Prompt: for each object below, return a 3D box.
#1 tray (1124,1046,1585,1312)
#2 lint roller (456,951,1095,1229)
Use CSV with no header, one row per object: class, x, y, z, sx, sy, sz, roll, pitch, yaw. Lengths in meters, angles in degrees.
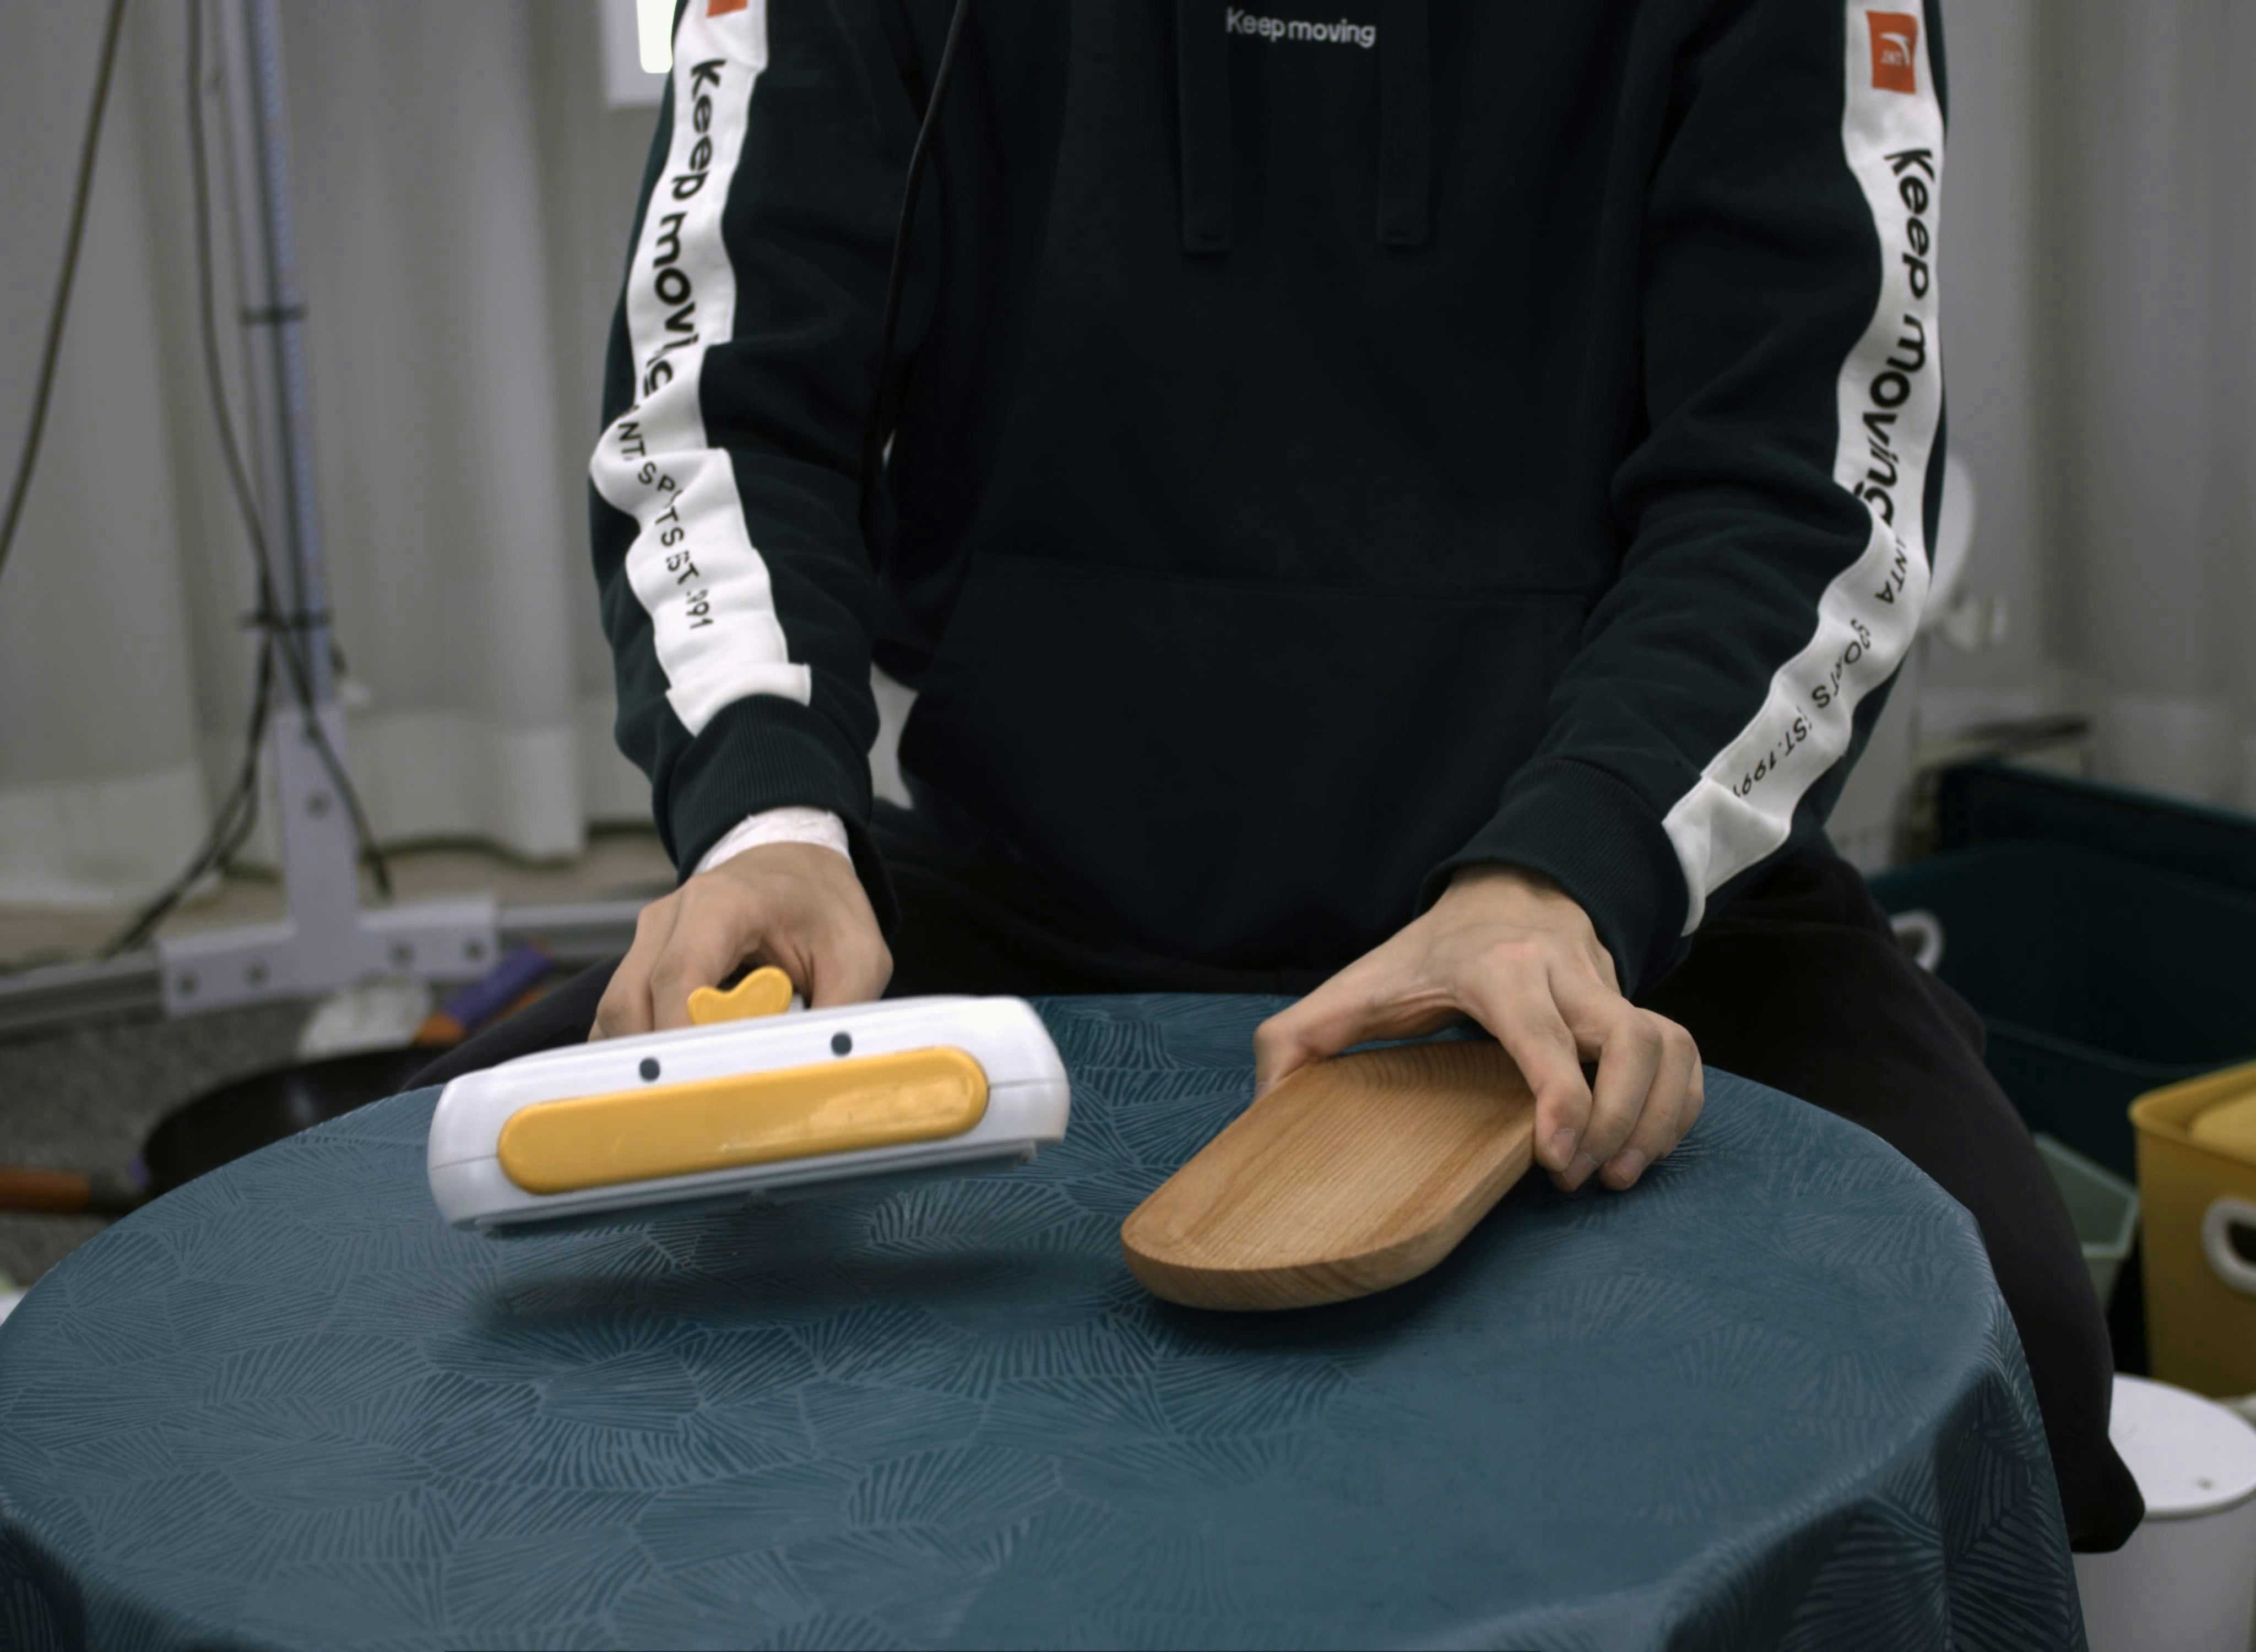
tray,0.072,0.105,1.660,0.101,0.020,0.232,-2,14,21
lint roller,-0.113,0.077,1.697,0.192,0.074,0.192,-13,1,-5
